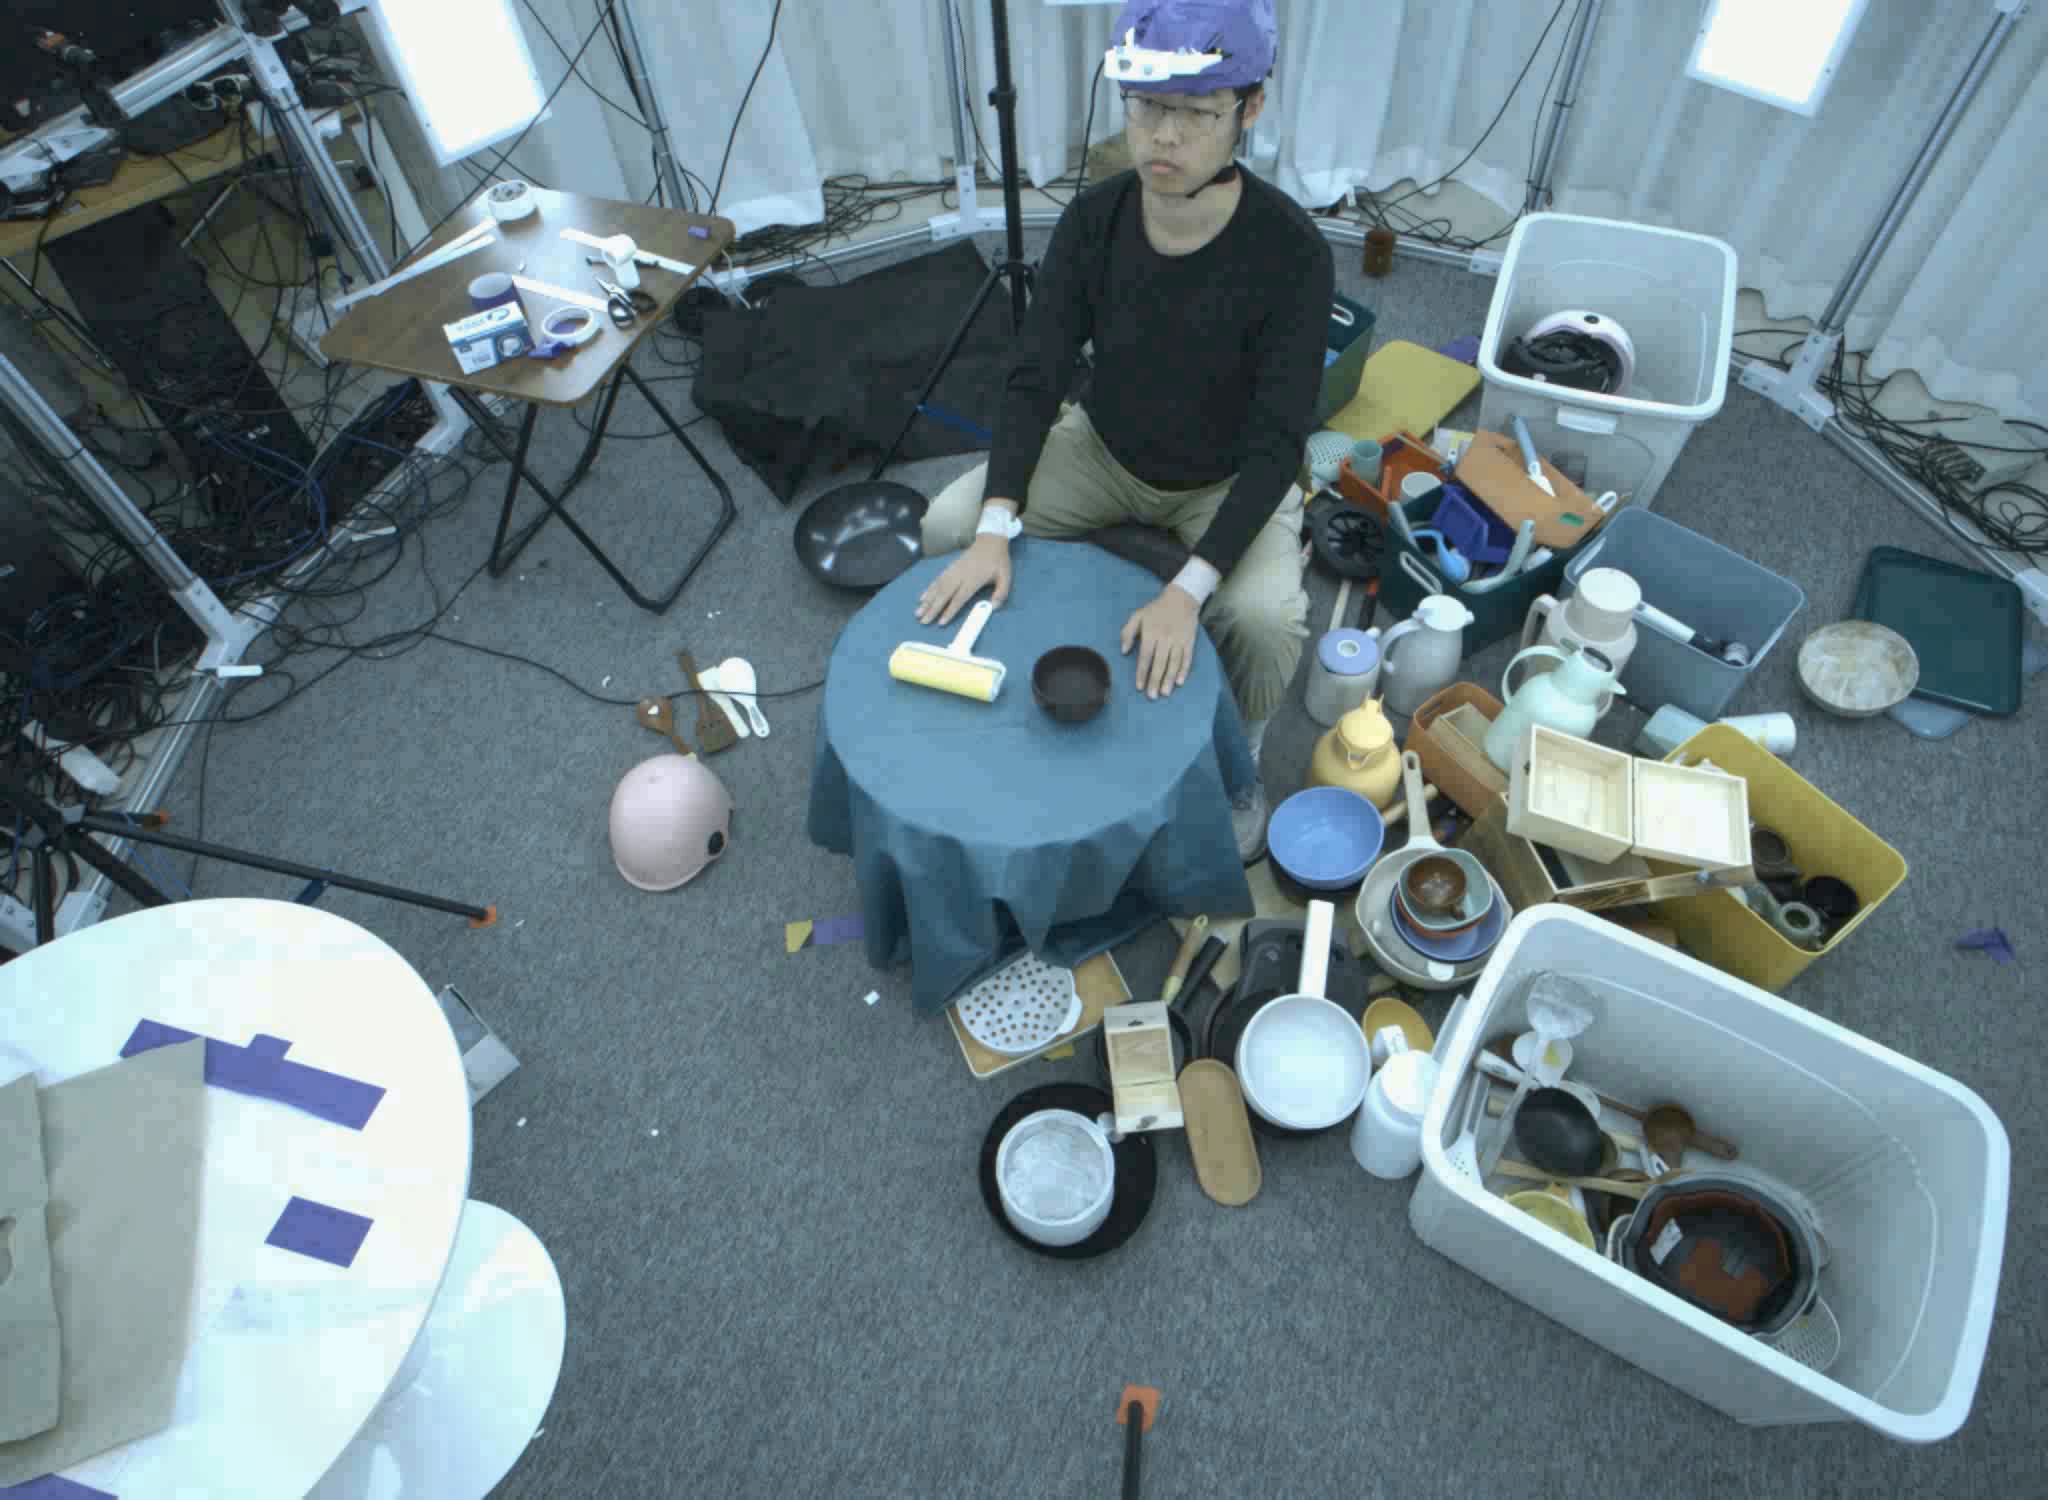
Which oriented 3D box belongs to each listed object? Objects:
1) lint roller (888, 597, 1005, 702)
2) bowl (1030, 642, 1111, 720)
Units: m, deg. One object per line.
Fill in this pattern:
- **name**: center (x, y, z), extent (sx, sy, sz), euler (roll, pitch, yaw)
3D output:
- **lint roller**: center (-0.099, -0.171, 1.880), extent (0.173, 0.052, 0.191), euler (14, 61, 11)
- **bowl**: center (0.069, -0.093, 1.805), extent (0.118, 0.070, 0.117), euler (-1, 56, 2)
